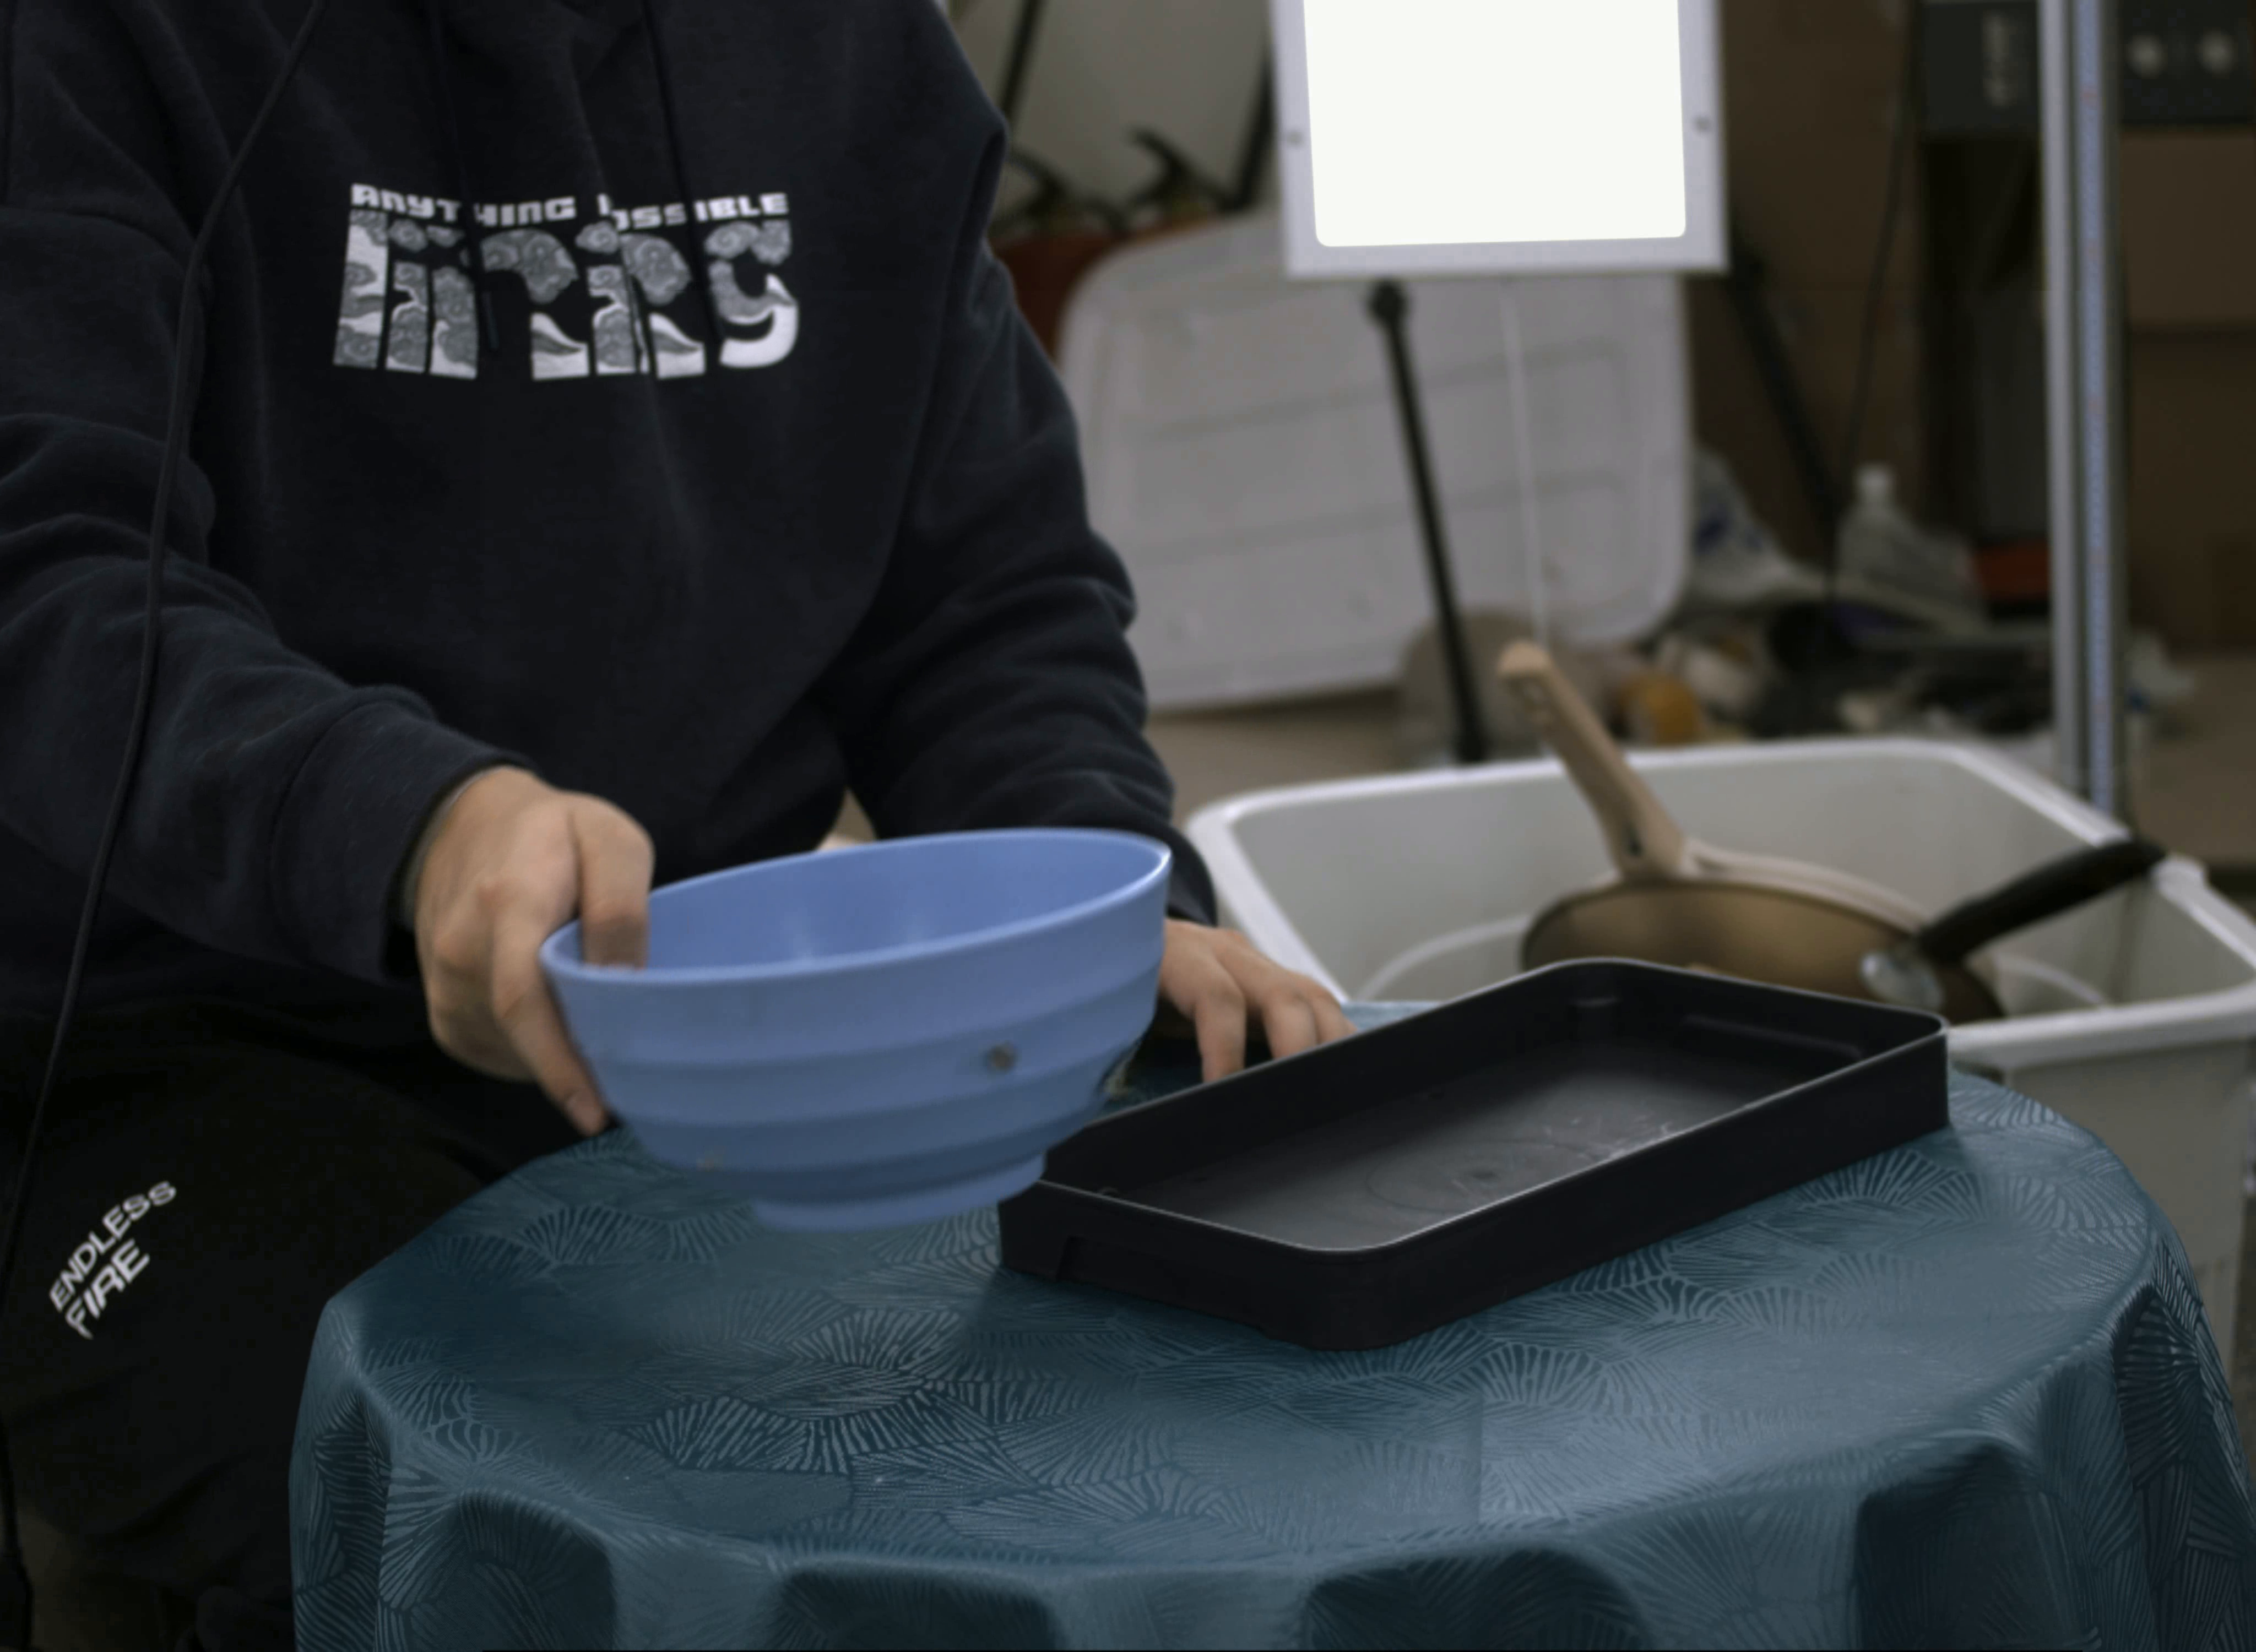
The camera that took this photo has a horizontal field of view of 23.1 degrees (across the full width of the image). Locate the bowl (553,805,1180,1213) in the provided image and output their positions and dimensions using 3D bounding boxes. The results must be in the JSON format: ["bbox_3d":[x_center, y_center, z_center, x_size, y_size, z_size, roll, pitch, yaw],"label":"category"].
[{"bbox_3d":[-0.073,0.061,1.704,0.196,0.096,0.196,-10,10,0],"label":"bowl"}]

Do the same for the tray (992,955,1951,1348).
[{"bbox_3d":[0.120,0.105,1.865,0.310,0.037,0.188,-16,17,-40],"label":"tray"}]
